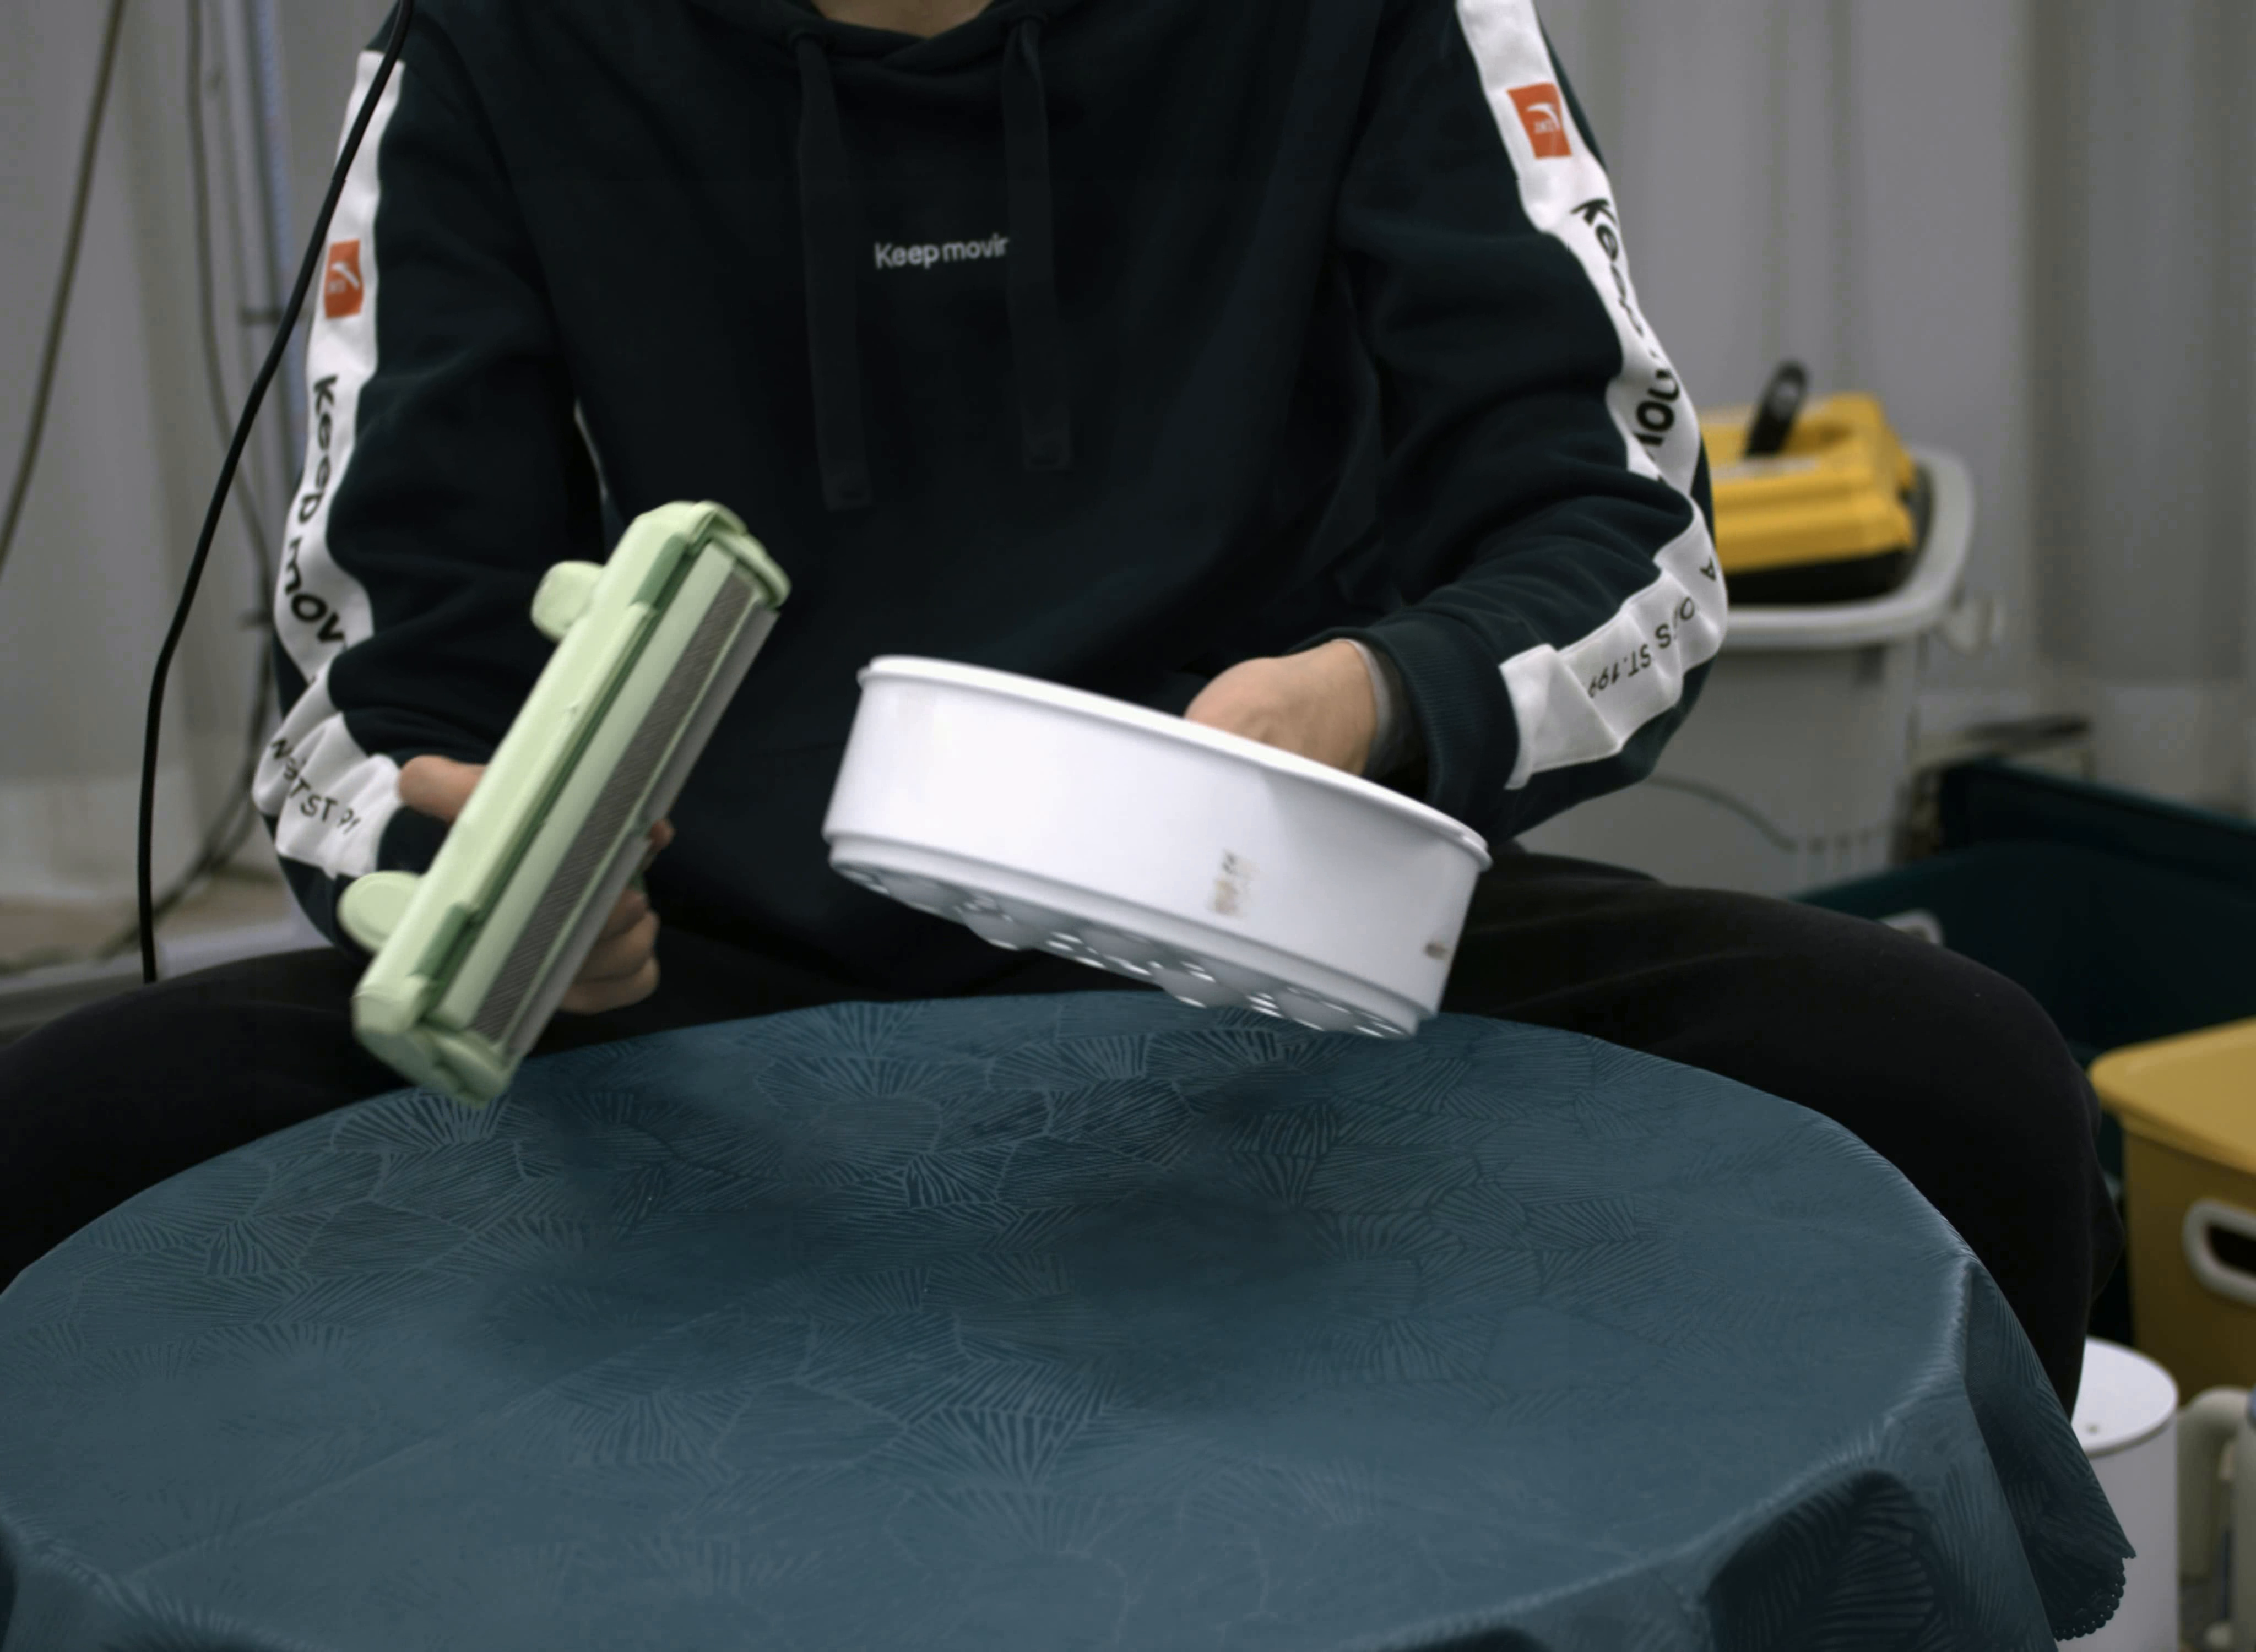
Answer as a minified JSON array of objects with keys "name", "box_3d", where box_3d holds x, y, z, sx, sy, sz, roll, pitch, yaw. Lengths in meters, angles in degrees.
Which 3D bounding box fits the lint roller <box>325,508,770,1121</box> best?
[{"name":"lint roller","box_3d":[-0.191,0.004,1.739,0.082,0.200,0.182,29,-18,-3]}]

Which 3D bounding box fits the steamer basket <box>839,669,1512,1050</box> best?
[{"name":"steamer basket","box_3d":[0.012,0.014,1.648,0.200,0.069,0.232,19,-5,-36]}]
